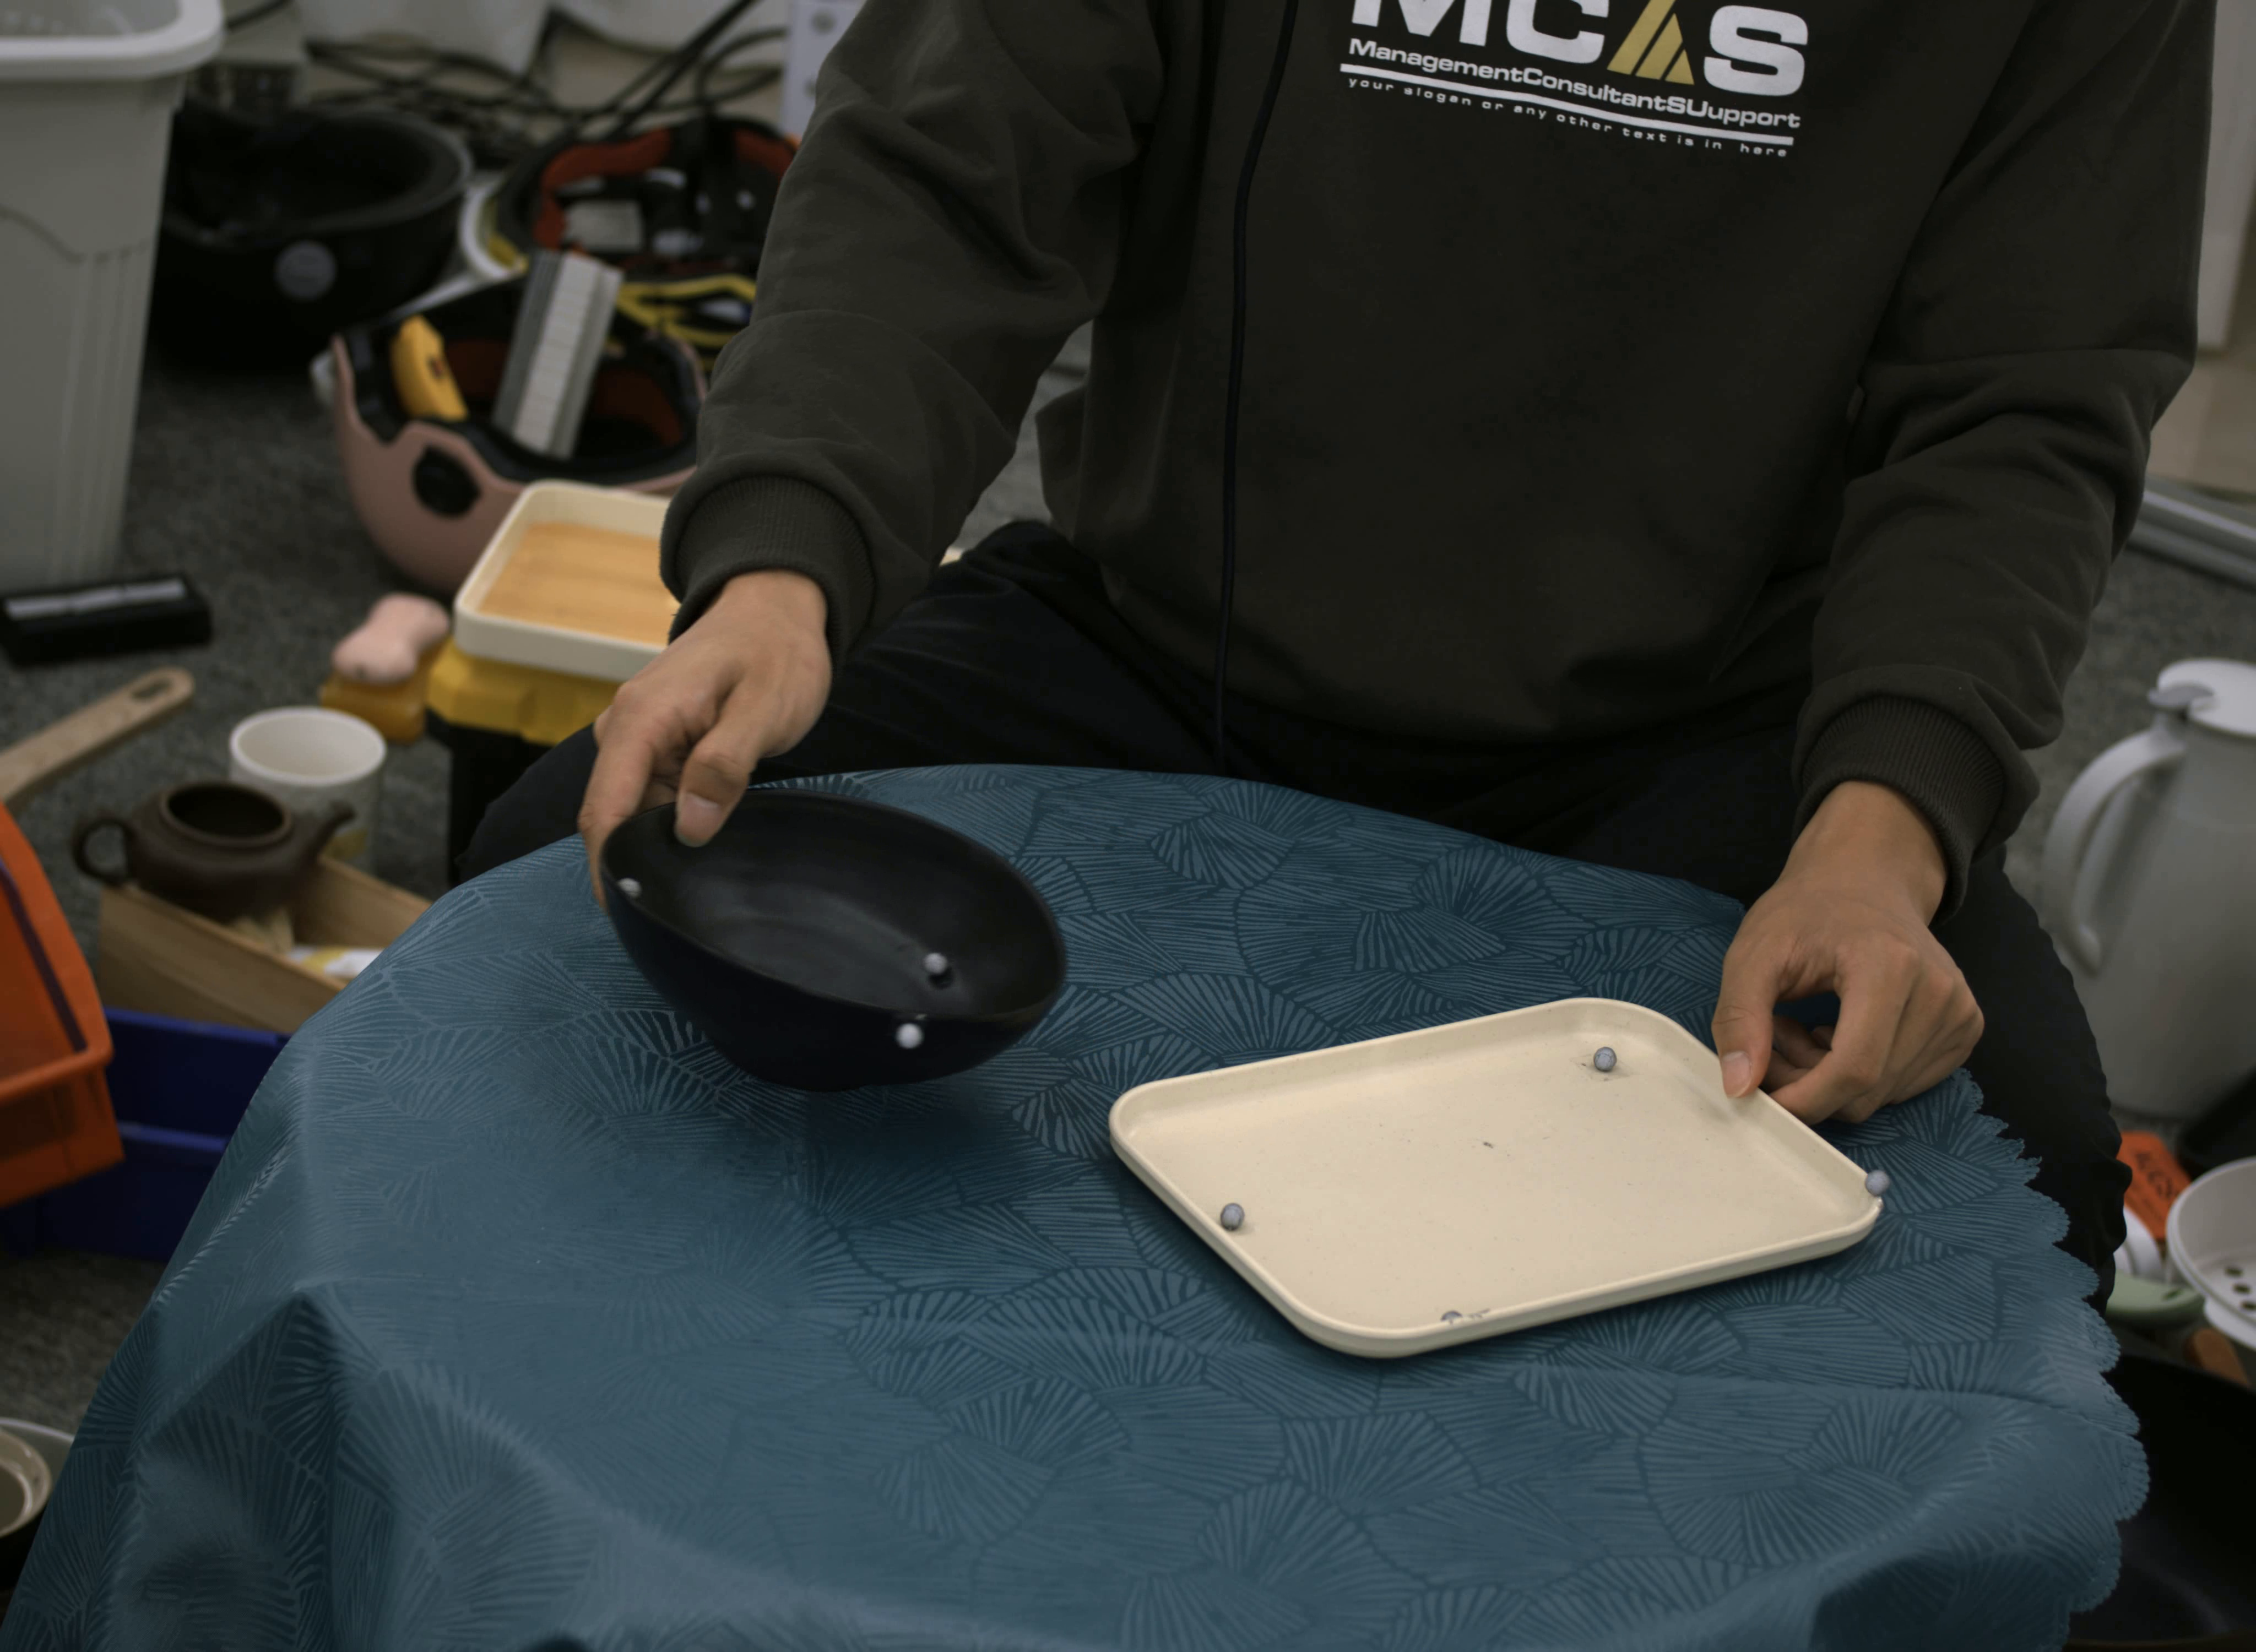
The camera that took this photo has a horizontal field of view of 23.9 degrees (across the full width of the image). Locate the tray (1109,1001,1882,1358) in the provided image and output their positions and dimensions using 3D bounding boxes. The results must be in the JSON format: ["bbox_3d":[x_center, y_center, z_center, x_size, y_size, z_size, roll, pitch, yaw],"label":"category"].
[{"bbox_3d":[0.125,0.120,1.824,0.238,0.017,0.173,-10,30,-30],"label":"tray"}]

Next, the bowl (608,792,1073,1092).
[{"bbox_3d":[-0.104,0.049,1.831,0.171,0.066,0.137,21,28,16],"label":"bowl"}]
